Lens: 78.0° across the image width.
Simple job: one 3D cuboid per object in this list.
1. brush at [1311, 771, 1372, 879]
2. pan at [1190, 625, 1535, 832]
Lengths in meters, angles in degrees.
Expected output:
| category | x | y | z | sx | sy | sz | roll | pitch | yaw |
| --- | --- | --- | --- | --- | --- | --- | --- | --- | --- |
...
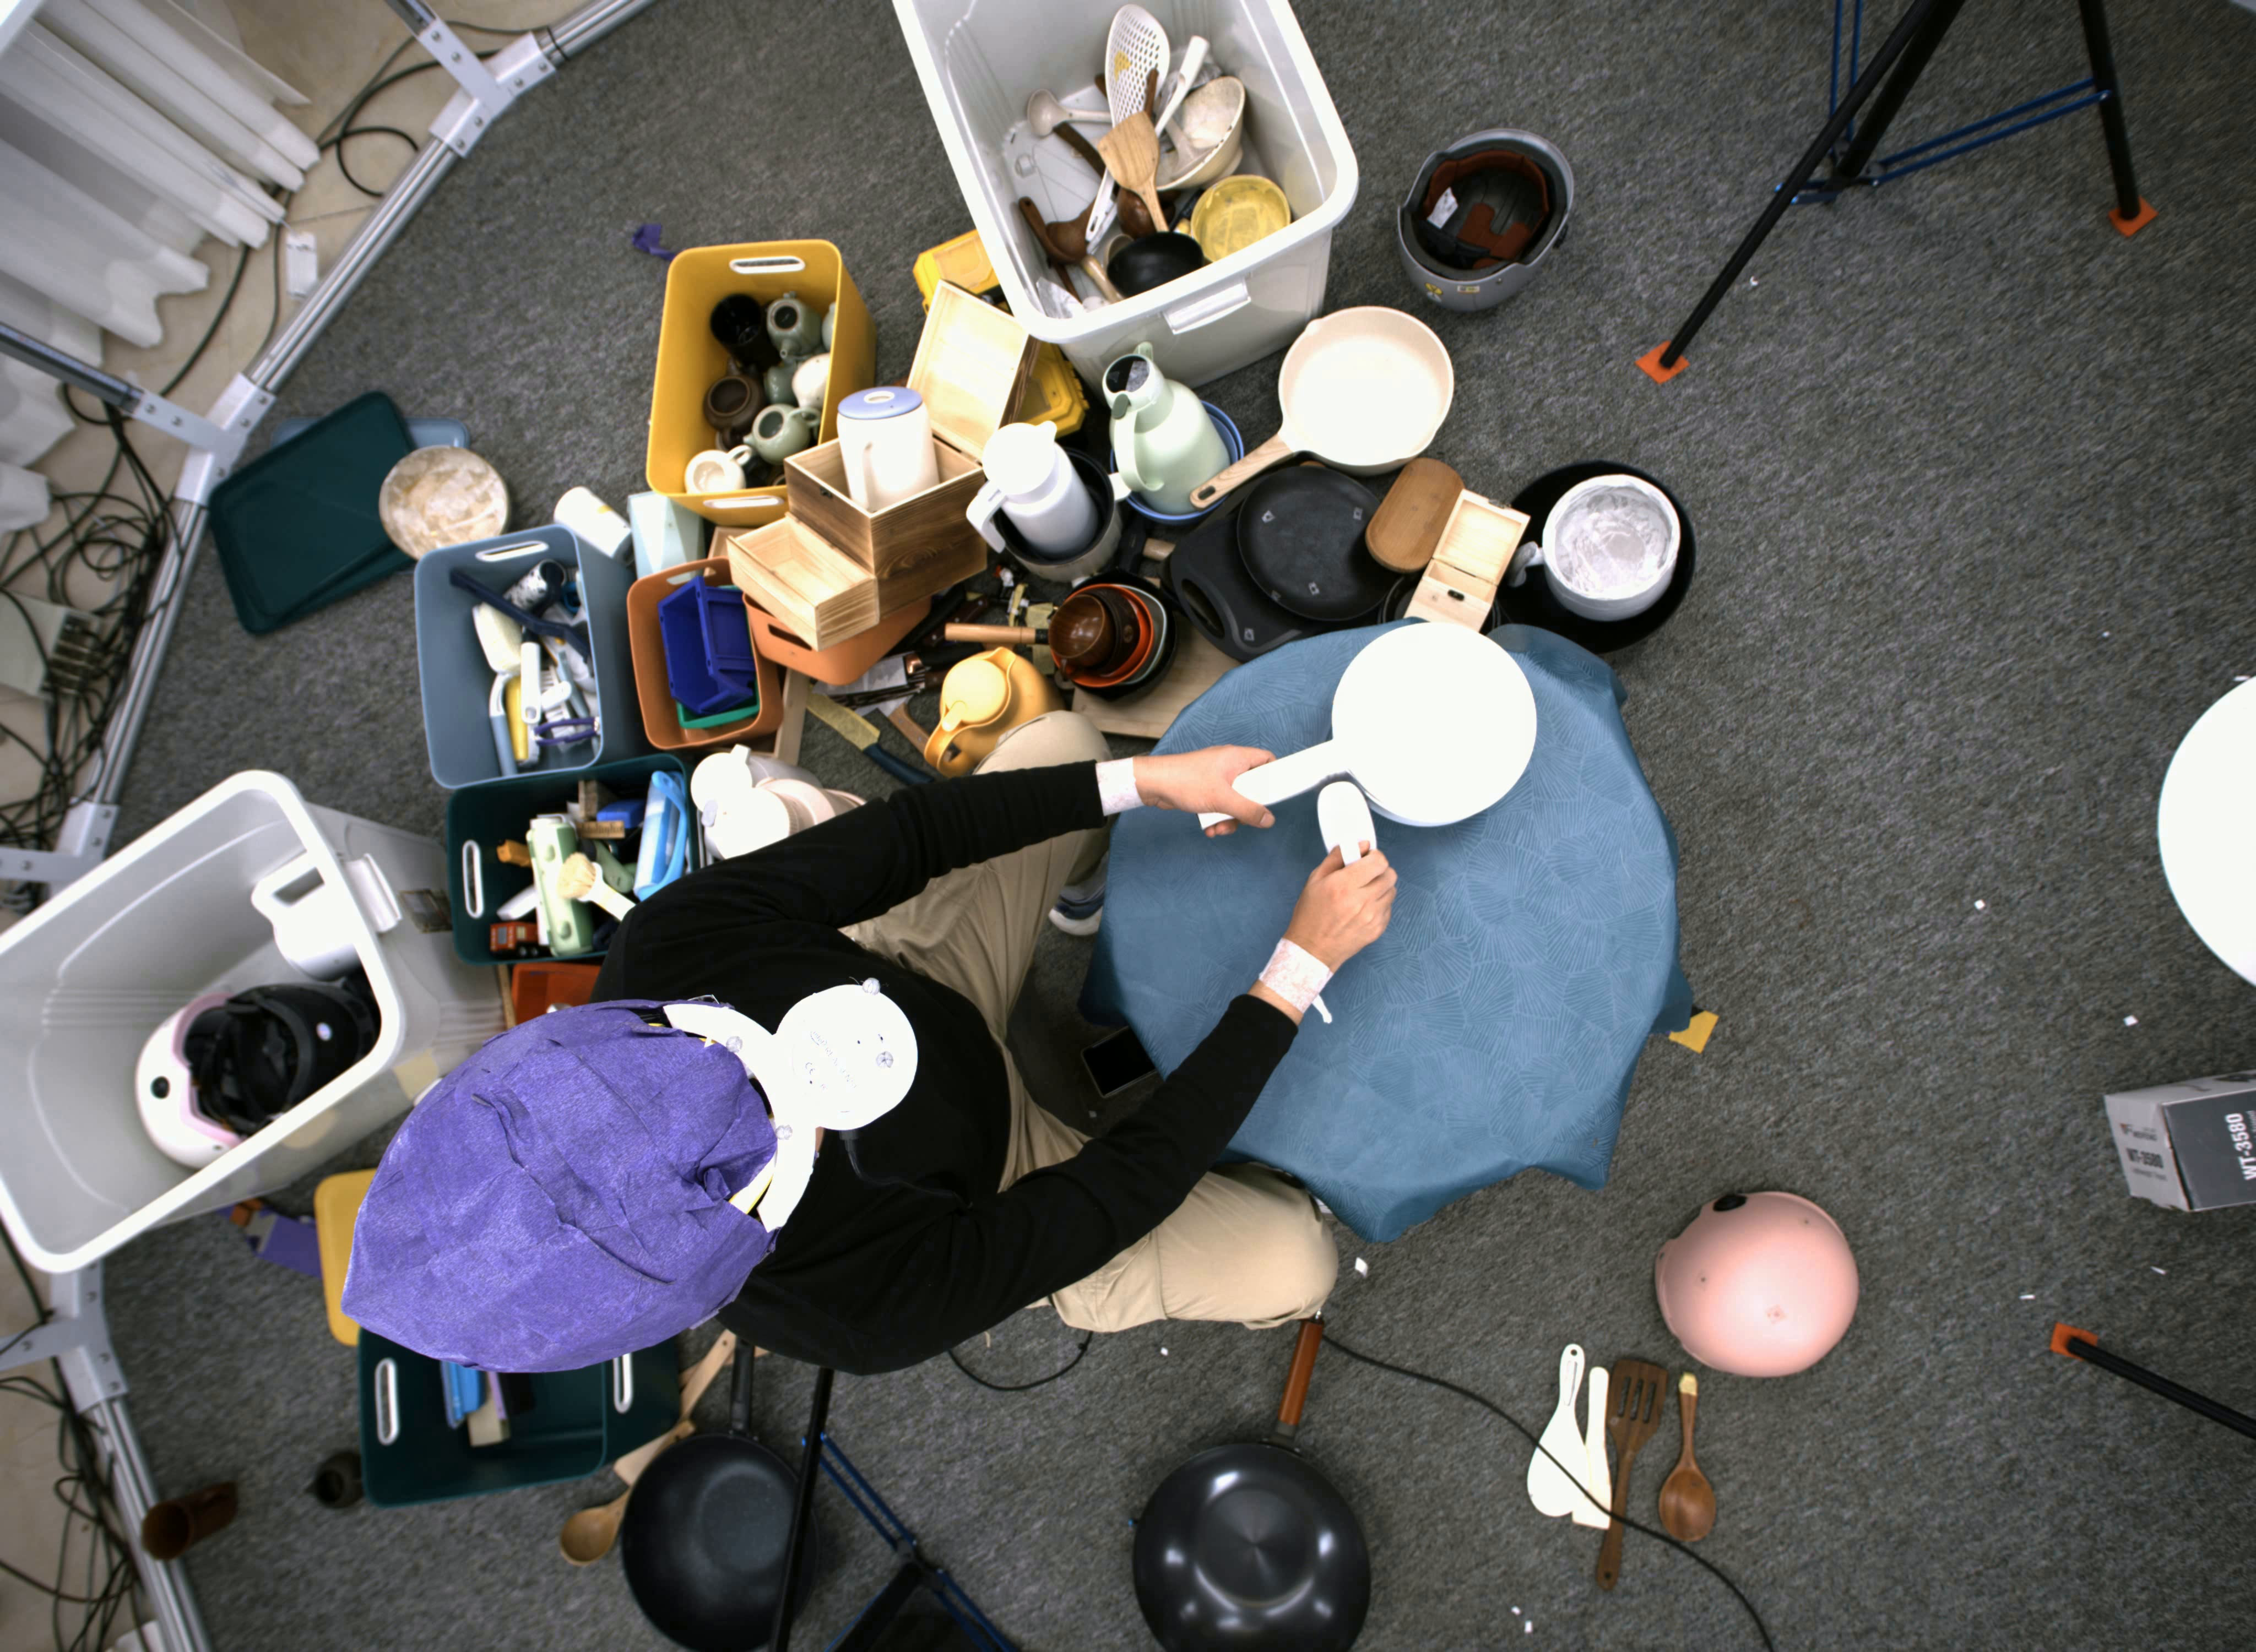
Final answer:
| category | x | y | z | sx | sy | sz | roll | pitch | yaw |
| --- | --- | --- | --- | --- | --- | --- | --- | --- | --- |
| brush | 0.211 | 0.004 | 1.343 | 0.050 | 0.071 | 0.101 | -14 | 116 | 7 |
| pan | 0.237 | -0.072 | 1.418 | 0.356 | 0.102 | 0.200 | -22 | 86 | 5 |
